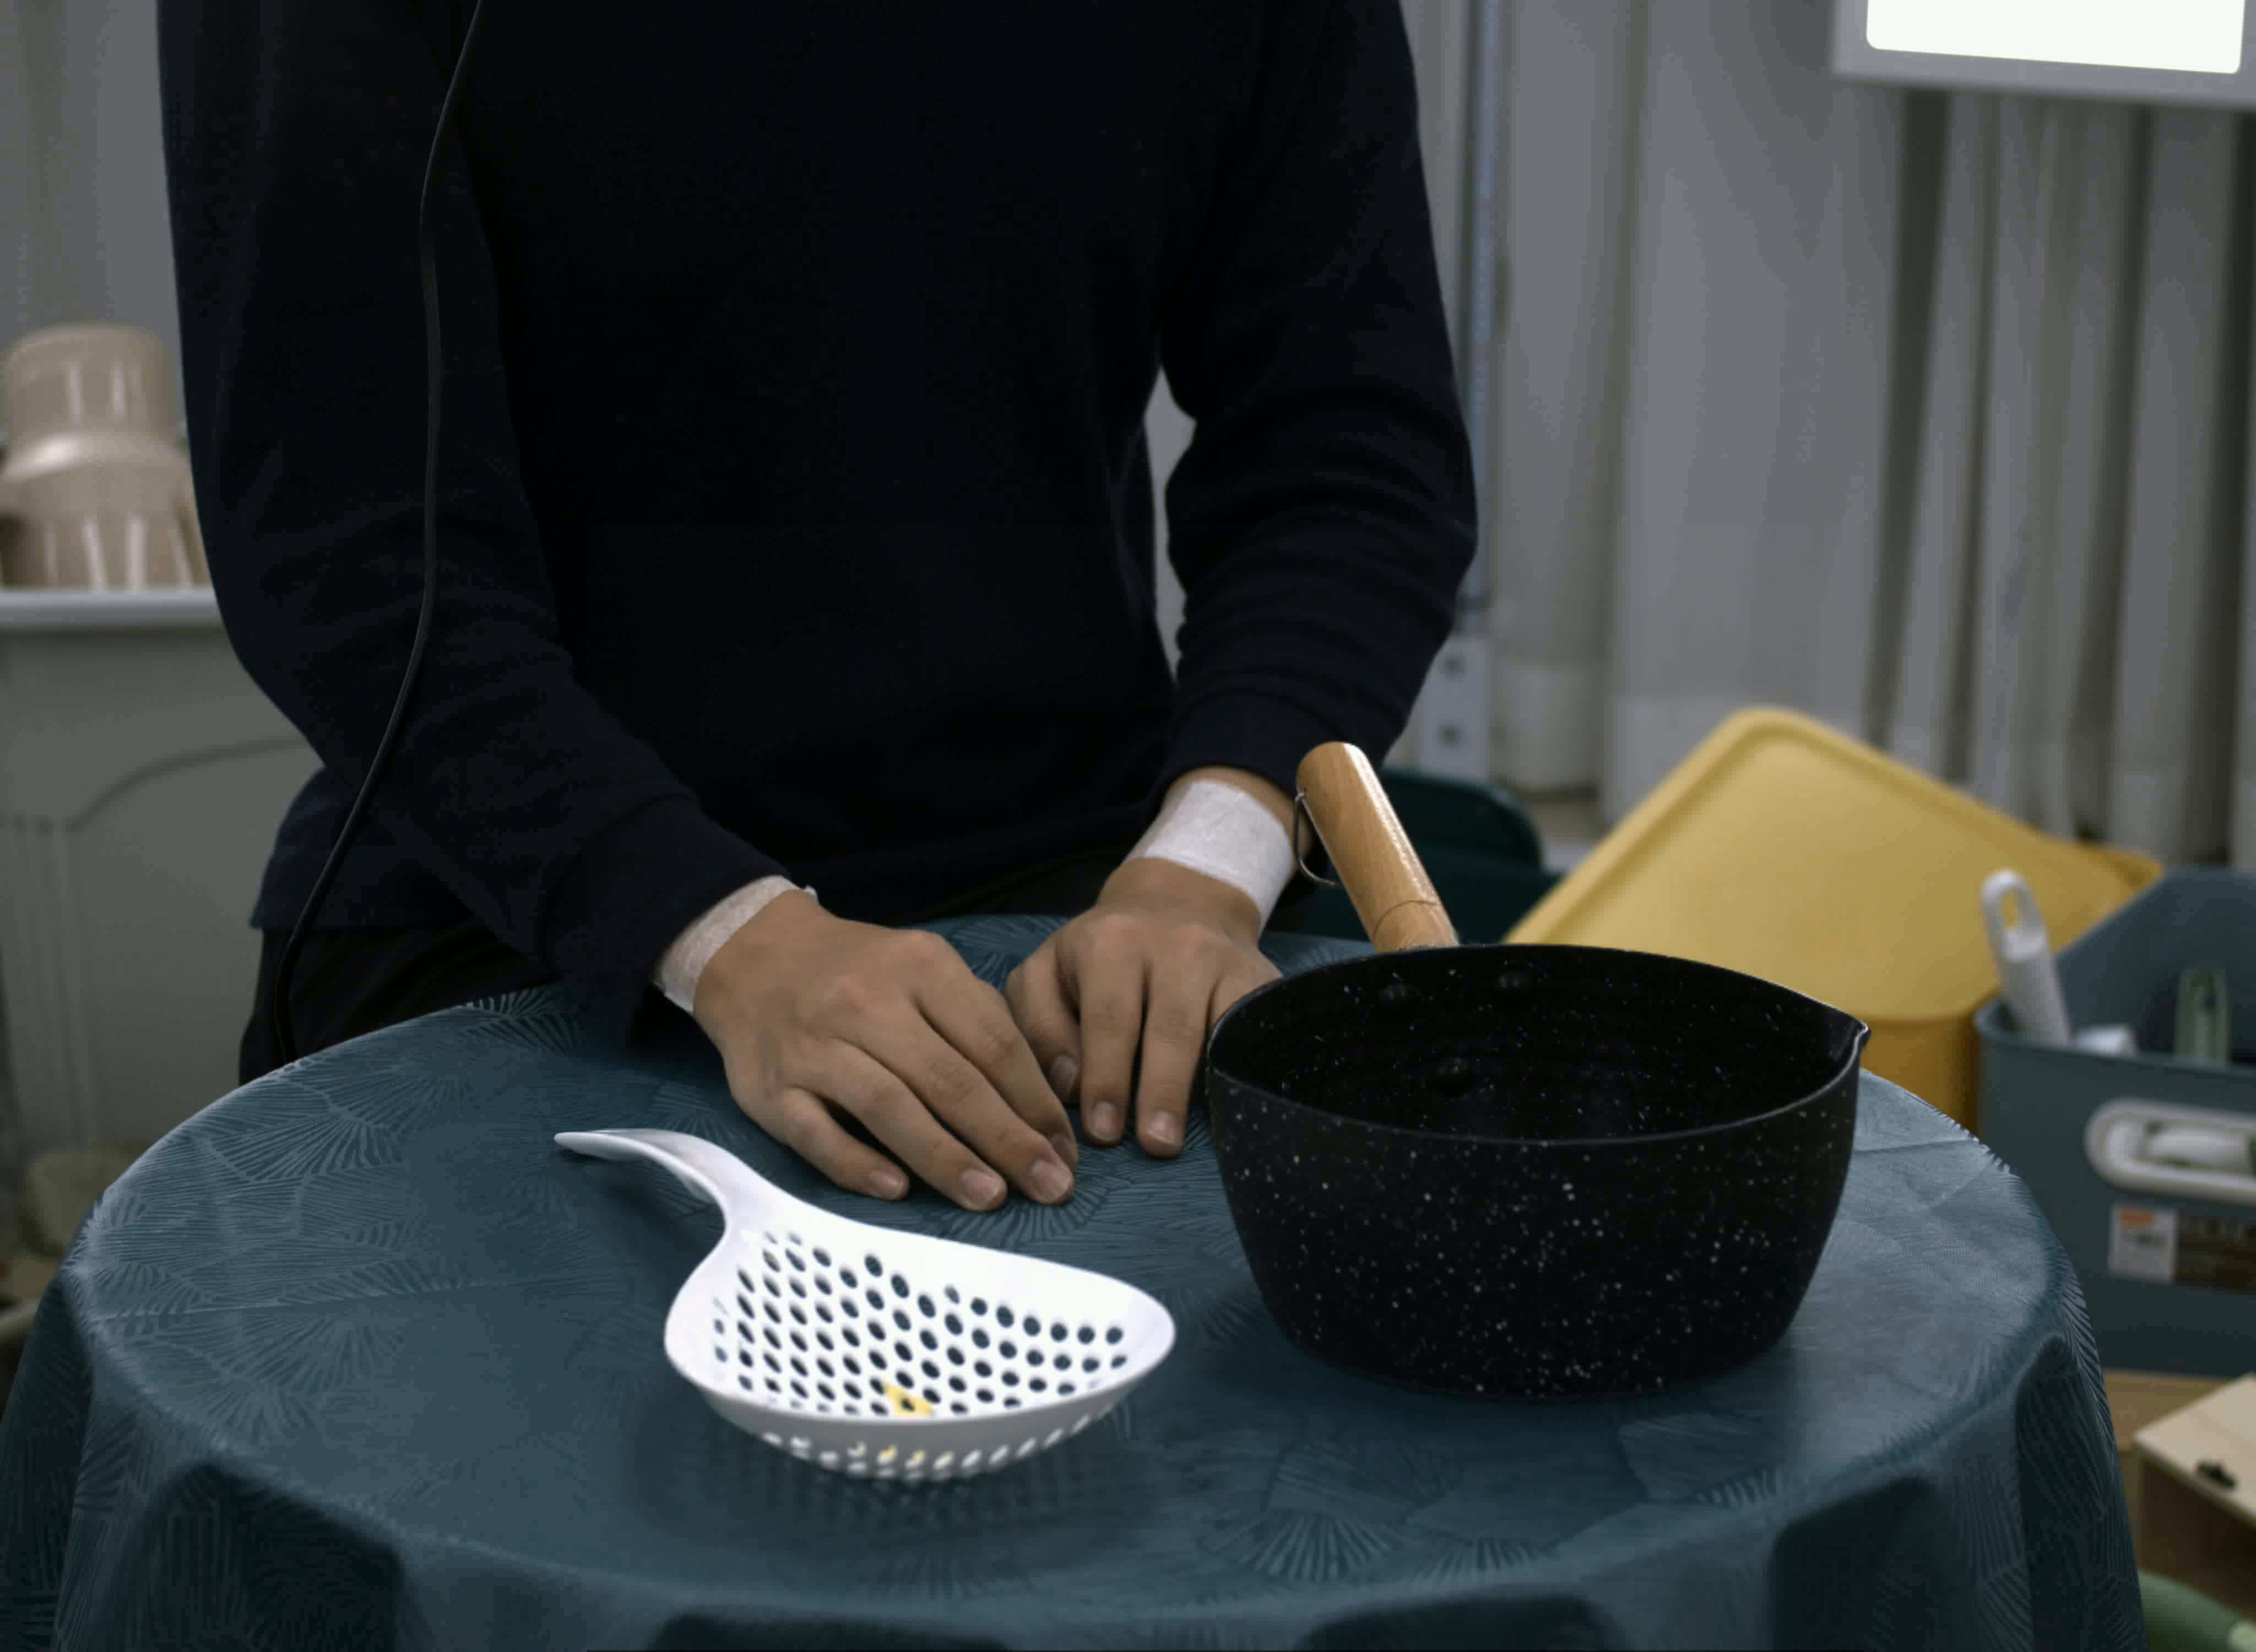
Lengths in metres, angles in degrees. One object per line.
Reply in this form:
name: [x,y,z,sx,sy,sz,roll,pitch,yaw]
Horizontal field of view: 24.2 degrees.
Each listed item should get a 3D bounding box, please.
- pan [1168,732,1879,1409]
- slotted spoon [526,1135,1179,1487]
pan: [0.099,0.068,1.583,0.207,0.109,0.339,-4,18,-12]
slotted spoon: [-0.102,0.123,1.501,0.137,0.051,0.343,-9,19,-24]
